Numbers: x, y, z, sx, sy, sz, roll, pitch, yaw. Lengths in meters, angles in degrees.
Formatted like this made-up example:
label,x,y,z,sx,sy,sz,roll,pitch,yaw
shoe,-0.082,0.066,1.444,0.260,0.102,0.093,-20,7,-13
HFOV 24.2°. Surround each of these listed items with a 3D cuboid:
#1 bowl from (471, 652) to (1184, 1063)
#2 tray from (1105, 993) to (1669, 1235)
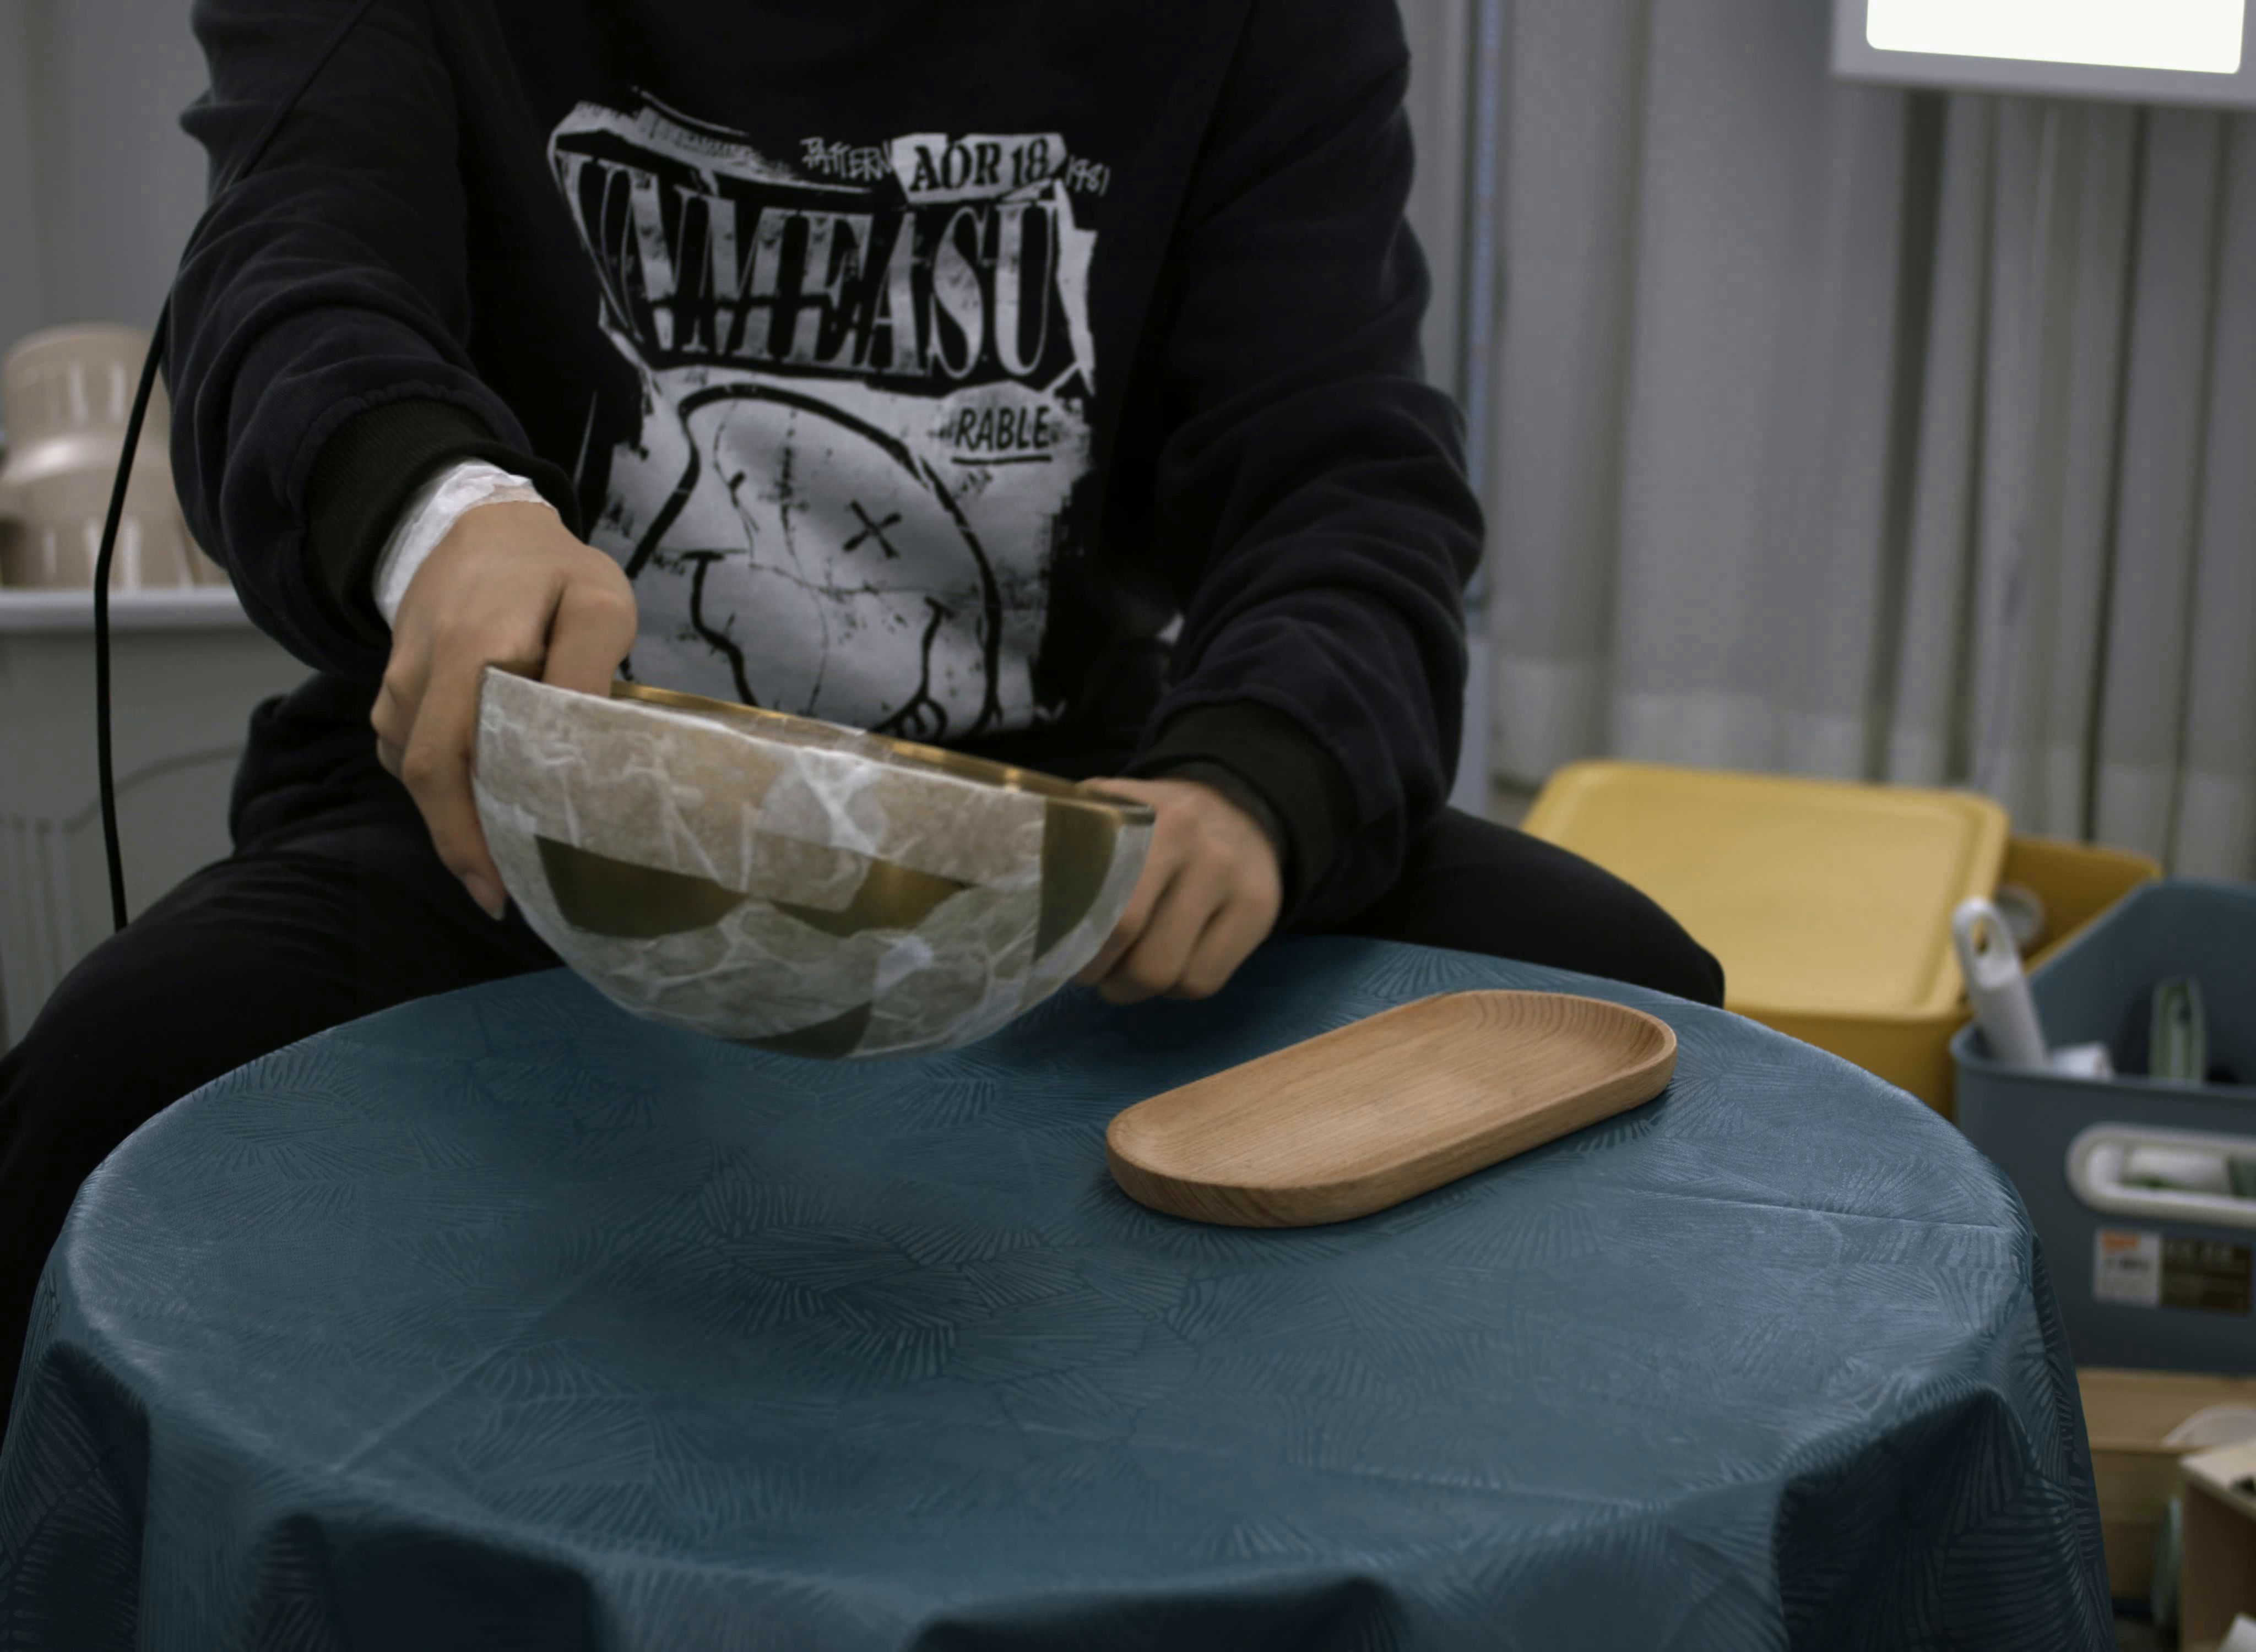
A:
label,x,y,z,sx,sy,sz,roll,pitch,yaw
bowl,-0.092,0.017,1.509,0.214,0.095,0.214,11,2,0
tray,0.085,0.090,1.681,0.100,0.020,0.232,10,20,38
